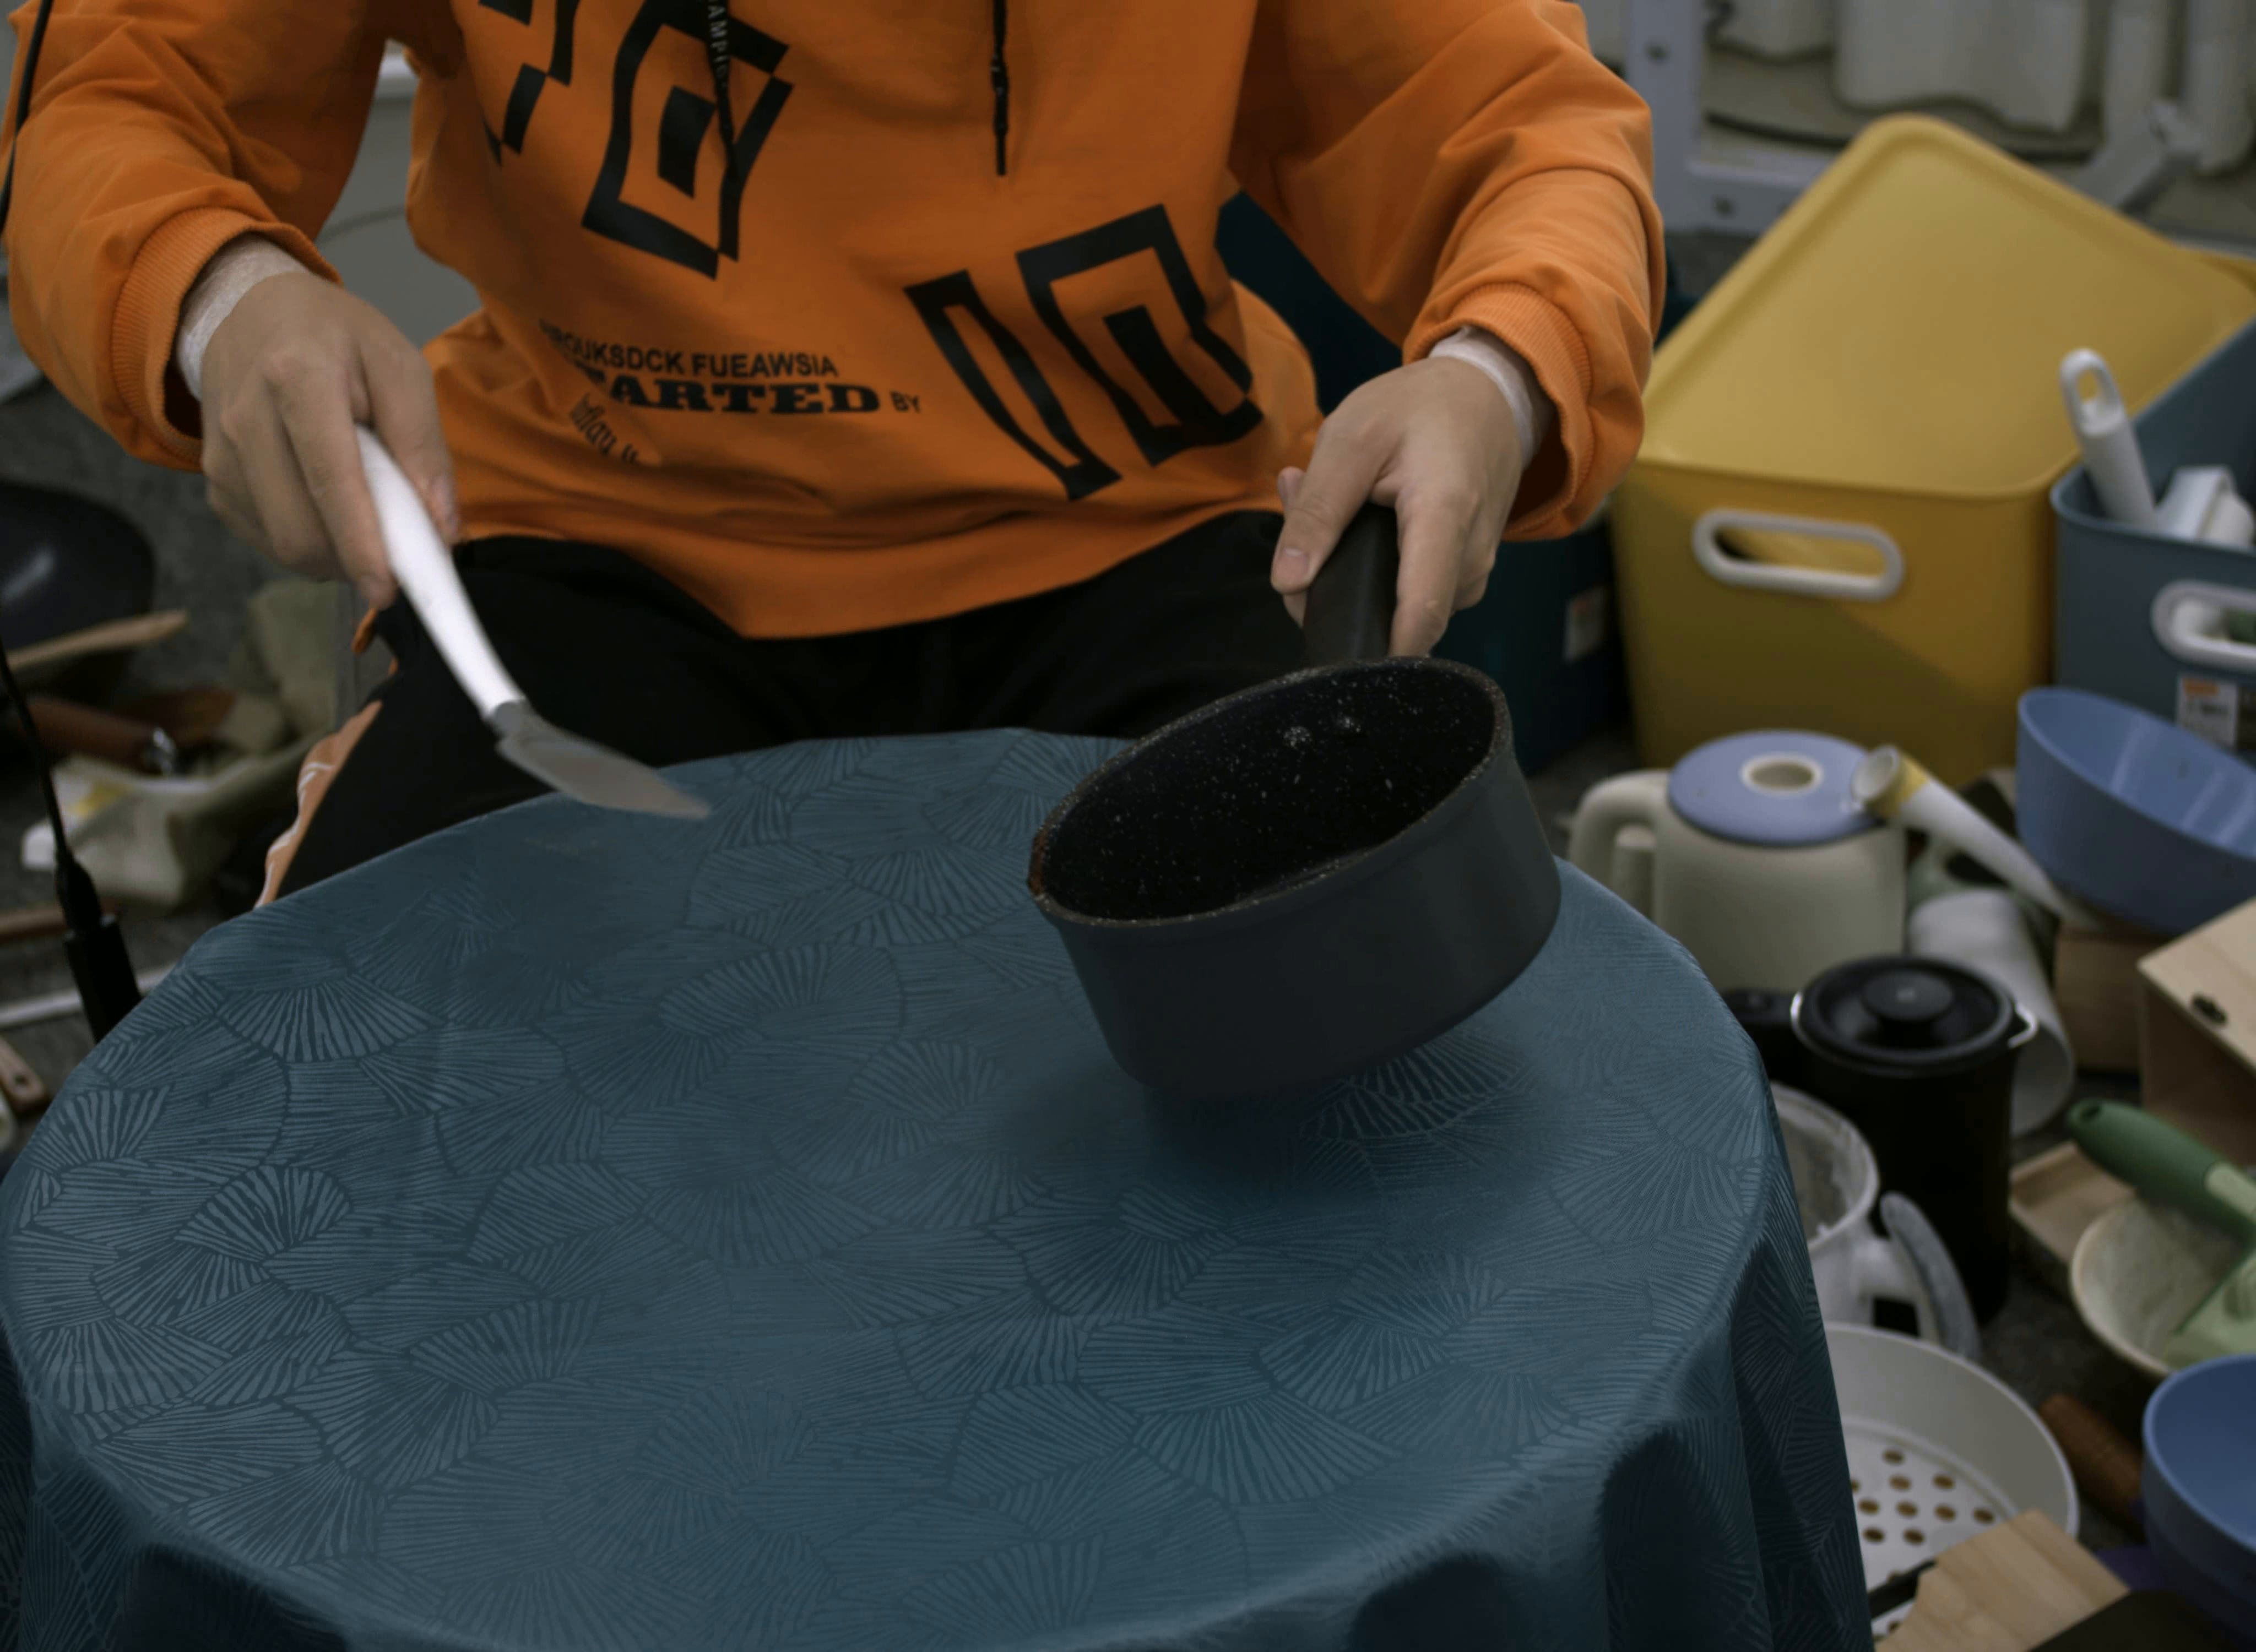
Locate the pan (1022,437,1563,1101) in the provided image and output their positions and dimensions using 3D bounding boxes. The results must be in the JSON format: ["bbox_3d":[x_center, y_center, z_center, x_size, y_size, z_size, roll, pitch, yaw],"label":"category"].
[{"bbox_3d":[0.074,-0.024,1.949,0.170,0.086,0.335,-12,26,21],"label":"pan"}]

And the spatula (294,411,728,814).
[{"bbox_3d":[-0.217,-0.066,1.909,0.059,0.032,0.290,9,23,-35],"label":"spatula"}]
